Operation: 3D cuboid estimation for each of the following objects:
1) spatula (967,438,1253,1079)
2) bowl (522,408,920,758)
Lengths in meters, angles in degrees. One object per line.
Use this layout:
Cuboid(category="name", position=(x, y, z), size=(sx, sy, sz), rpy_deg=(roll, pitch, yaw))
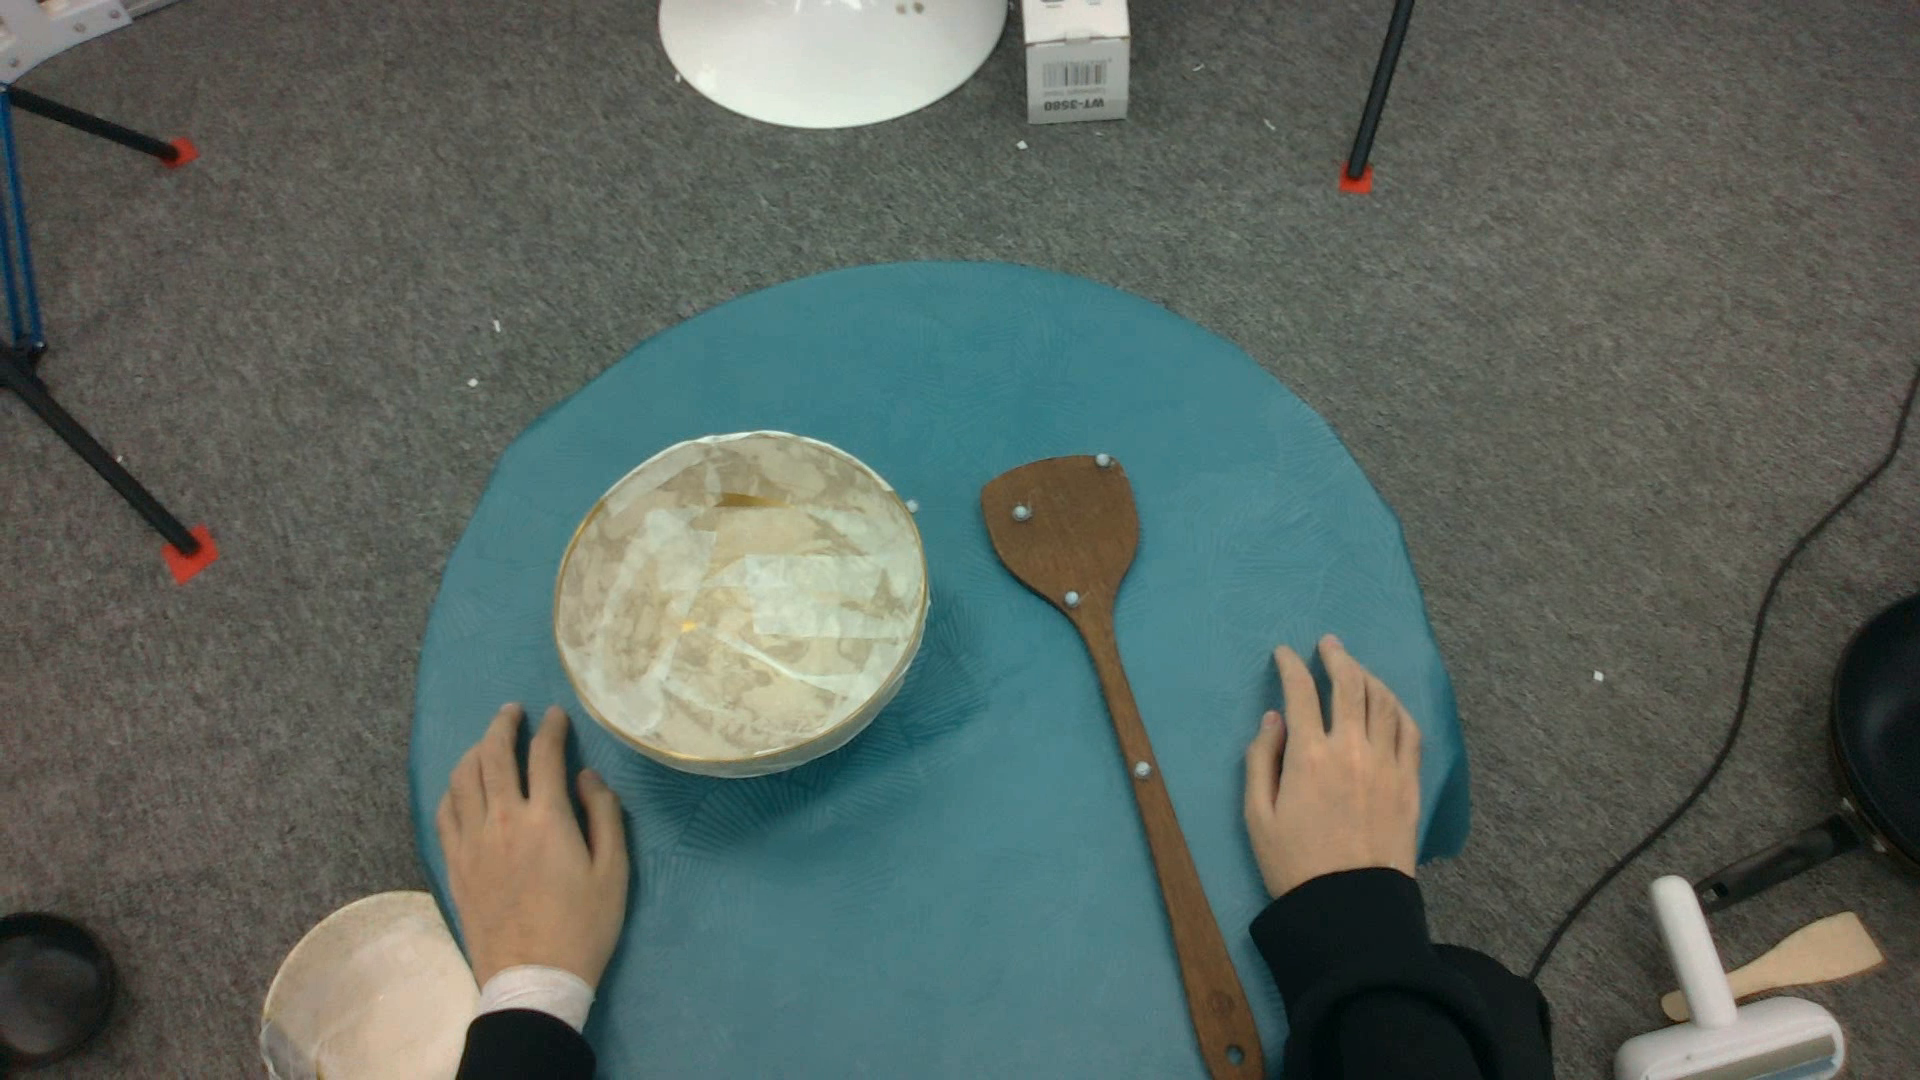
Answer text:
Cuboid(category="spatula", position=(0.091, 0.103, 0.773), size=(0.096, 0.016, 0.387), rpy_deg=(-13, 60, -6))
Cuboid(category="bowl", position=(-0.126, 0.037, 0.768), size=(0.215, 0.094, 0.215), rpy_deg=(0, 60, -1))
